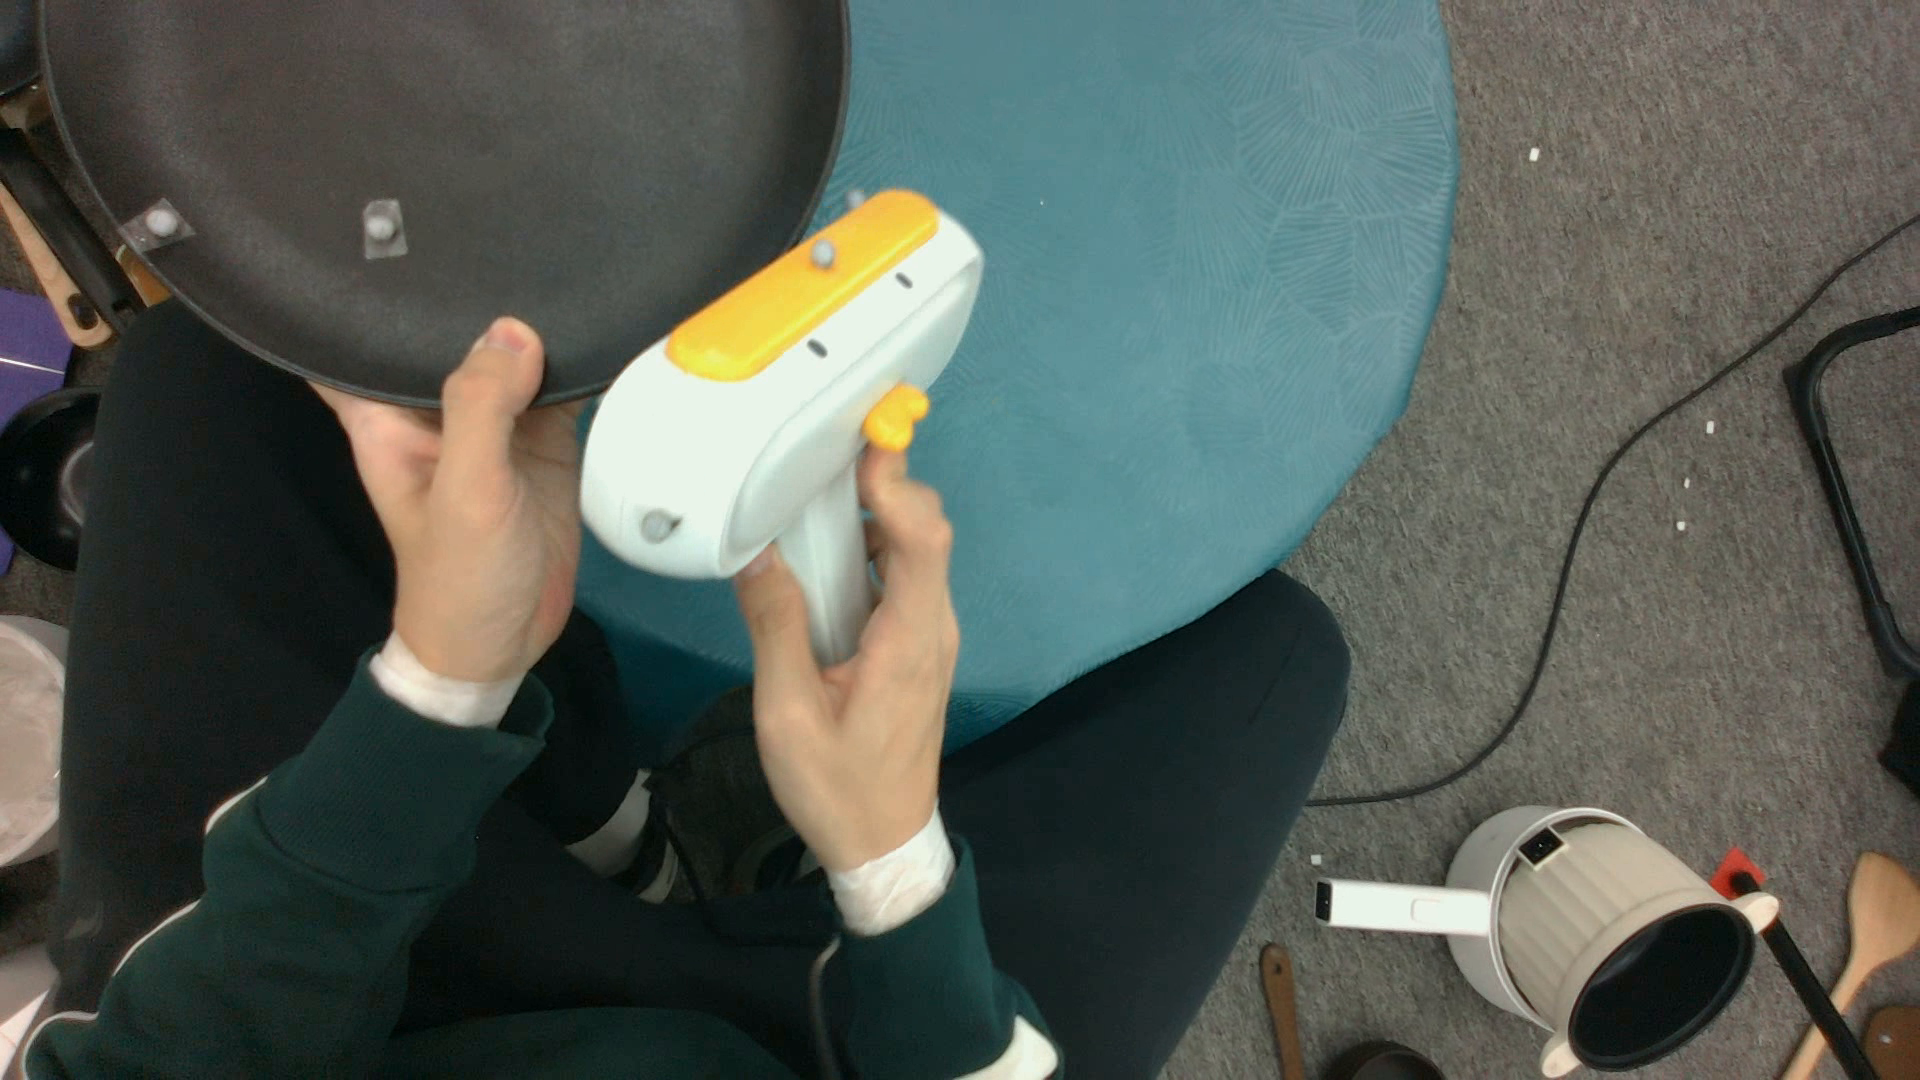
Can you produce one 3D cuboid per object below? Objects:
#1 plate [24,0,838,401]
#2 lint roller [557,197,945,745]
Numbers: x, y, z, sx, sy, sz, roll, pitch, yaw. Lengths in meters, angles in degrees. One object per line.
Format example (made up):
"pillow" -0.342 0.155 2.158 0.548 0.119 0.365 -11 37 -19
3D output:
"plate" -0.162 -0.165 0.443 0.244 0.023 0.244 0 89 -11
"lint roller" -0.061 -0.006 0.488 0.074 0.191 0.194 16 40 10
